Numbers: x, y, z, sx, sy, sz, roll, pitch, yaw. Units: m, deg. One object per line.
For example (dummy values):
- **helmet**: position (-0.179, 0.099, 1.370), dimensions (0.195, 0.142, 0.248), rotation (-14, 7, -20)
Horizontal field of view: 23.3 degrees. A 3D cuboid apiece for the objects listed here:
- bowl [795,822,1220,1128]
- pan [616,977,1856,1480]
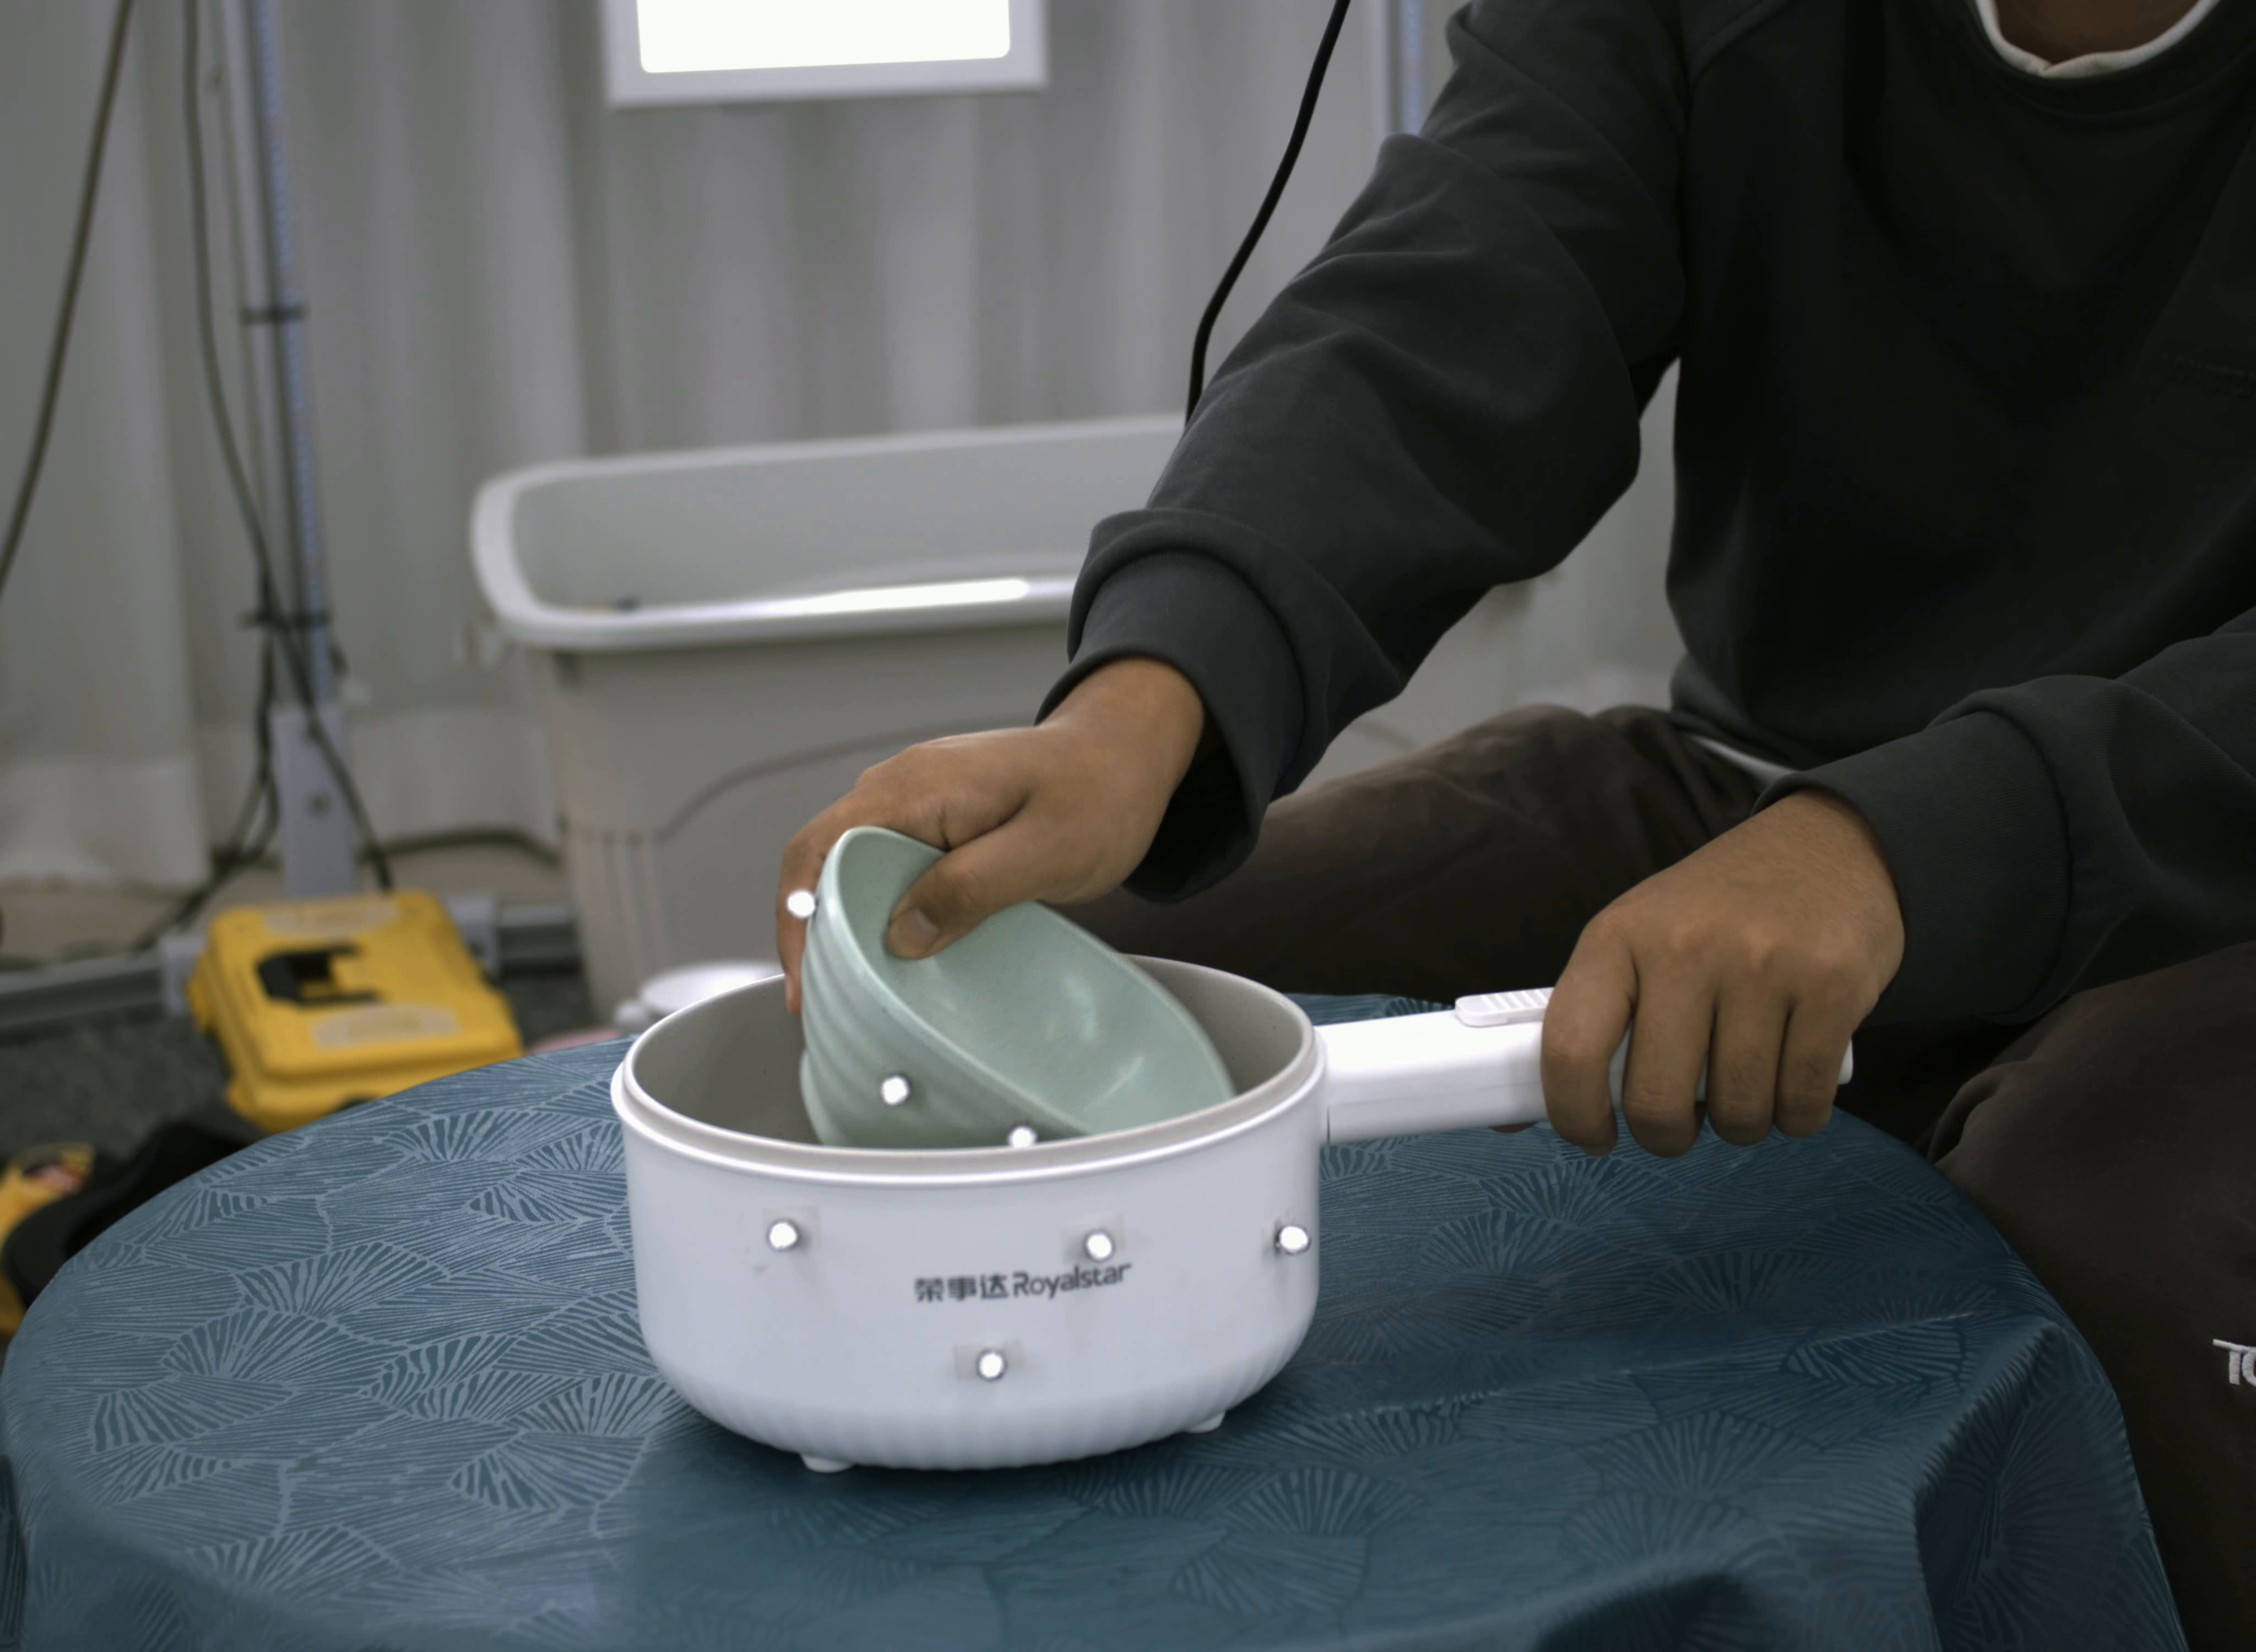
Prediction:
- **bowl**: position (-0.043, 0.071, 1.533), dimensions (0.150, 0.058, 0.153), rotation (35, 19, -14)
- **pan**: position (0.033, 0.109, 1.561), dimensions (0.353, 0.102, 0.202), rotation (-4, 12, -10)
